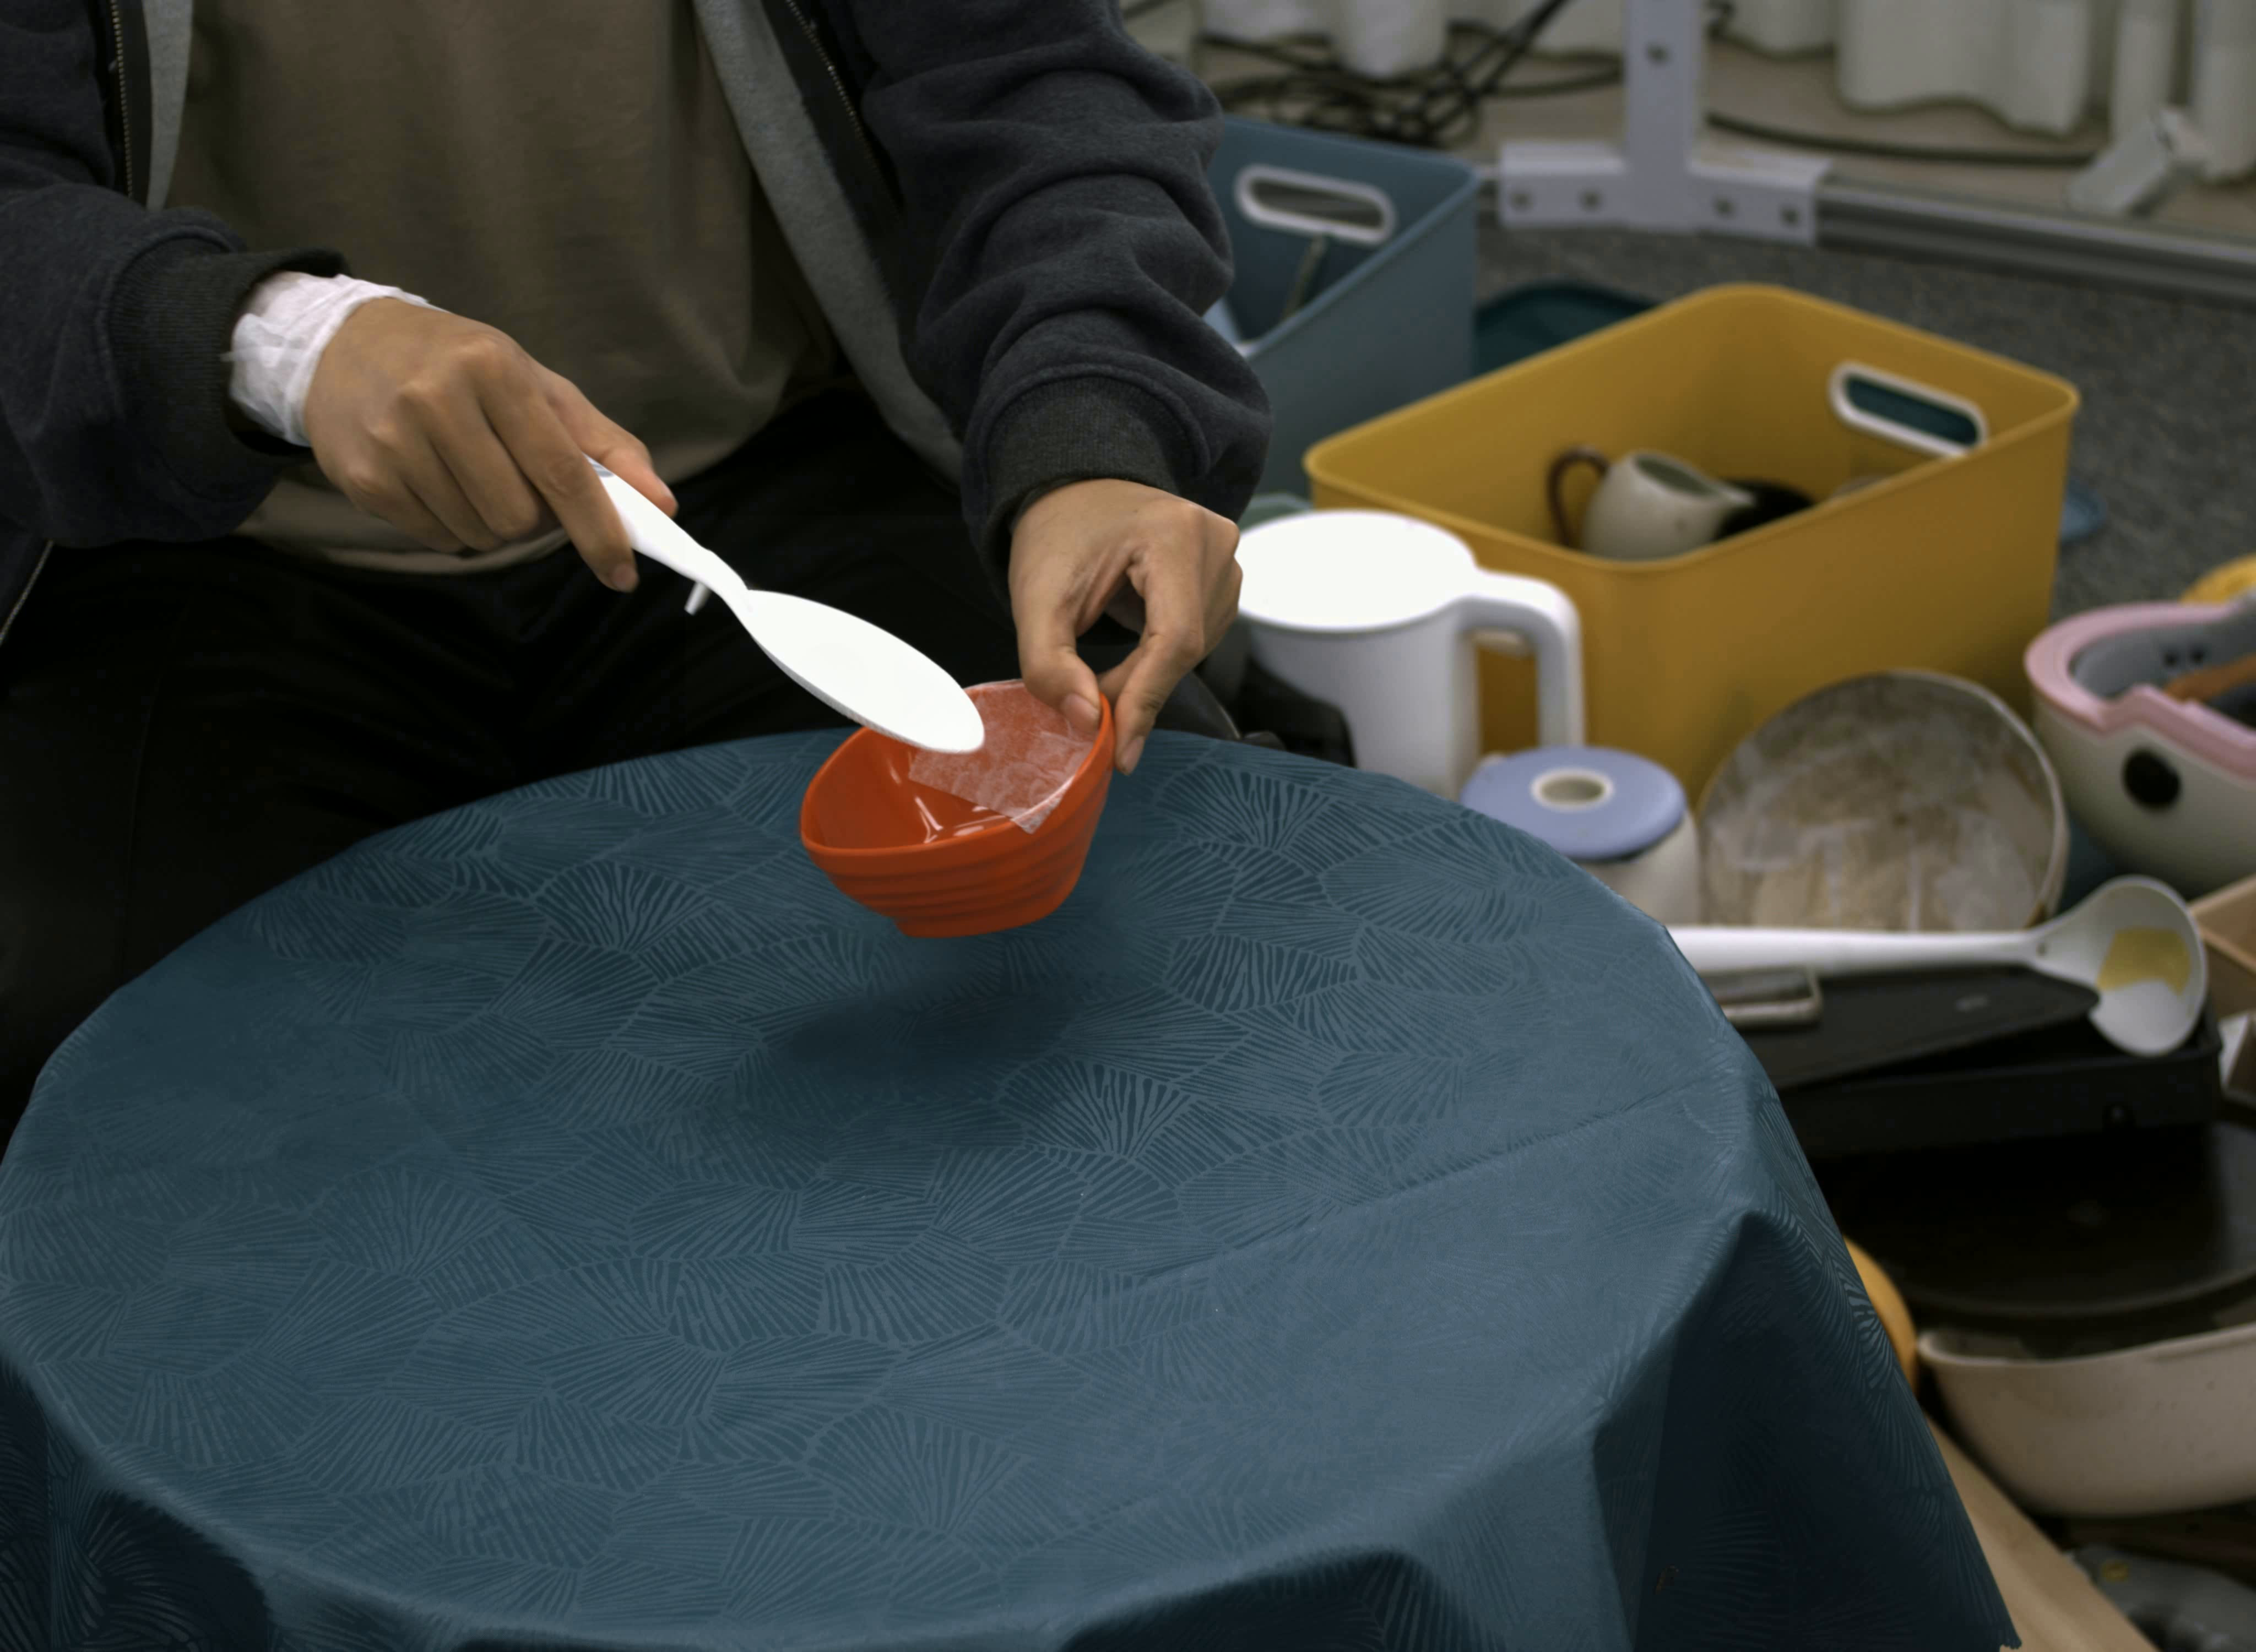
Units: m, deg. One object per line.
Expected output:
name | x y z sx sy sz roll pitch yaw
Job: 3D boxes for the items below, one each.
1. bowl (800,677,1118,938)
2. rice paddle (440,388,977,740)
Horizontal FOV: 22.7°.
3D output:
bowl | -0.052 -0.001 1.938 0.118 0.051 0.121 -14 28 8
rice paddle | -0.139 -0.086 1.914 0.205 0.029 0.070 30 25 3
